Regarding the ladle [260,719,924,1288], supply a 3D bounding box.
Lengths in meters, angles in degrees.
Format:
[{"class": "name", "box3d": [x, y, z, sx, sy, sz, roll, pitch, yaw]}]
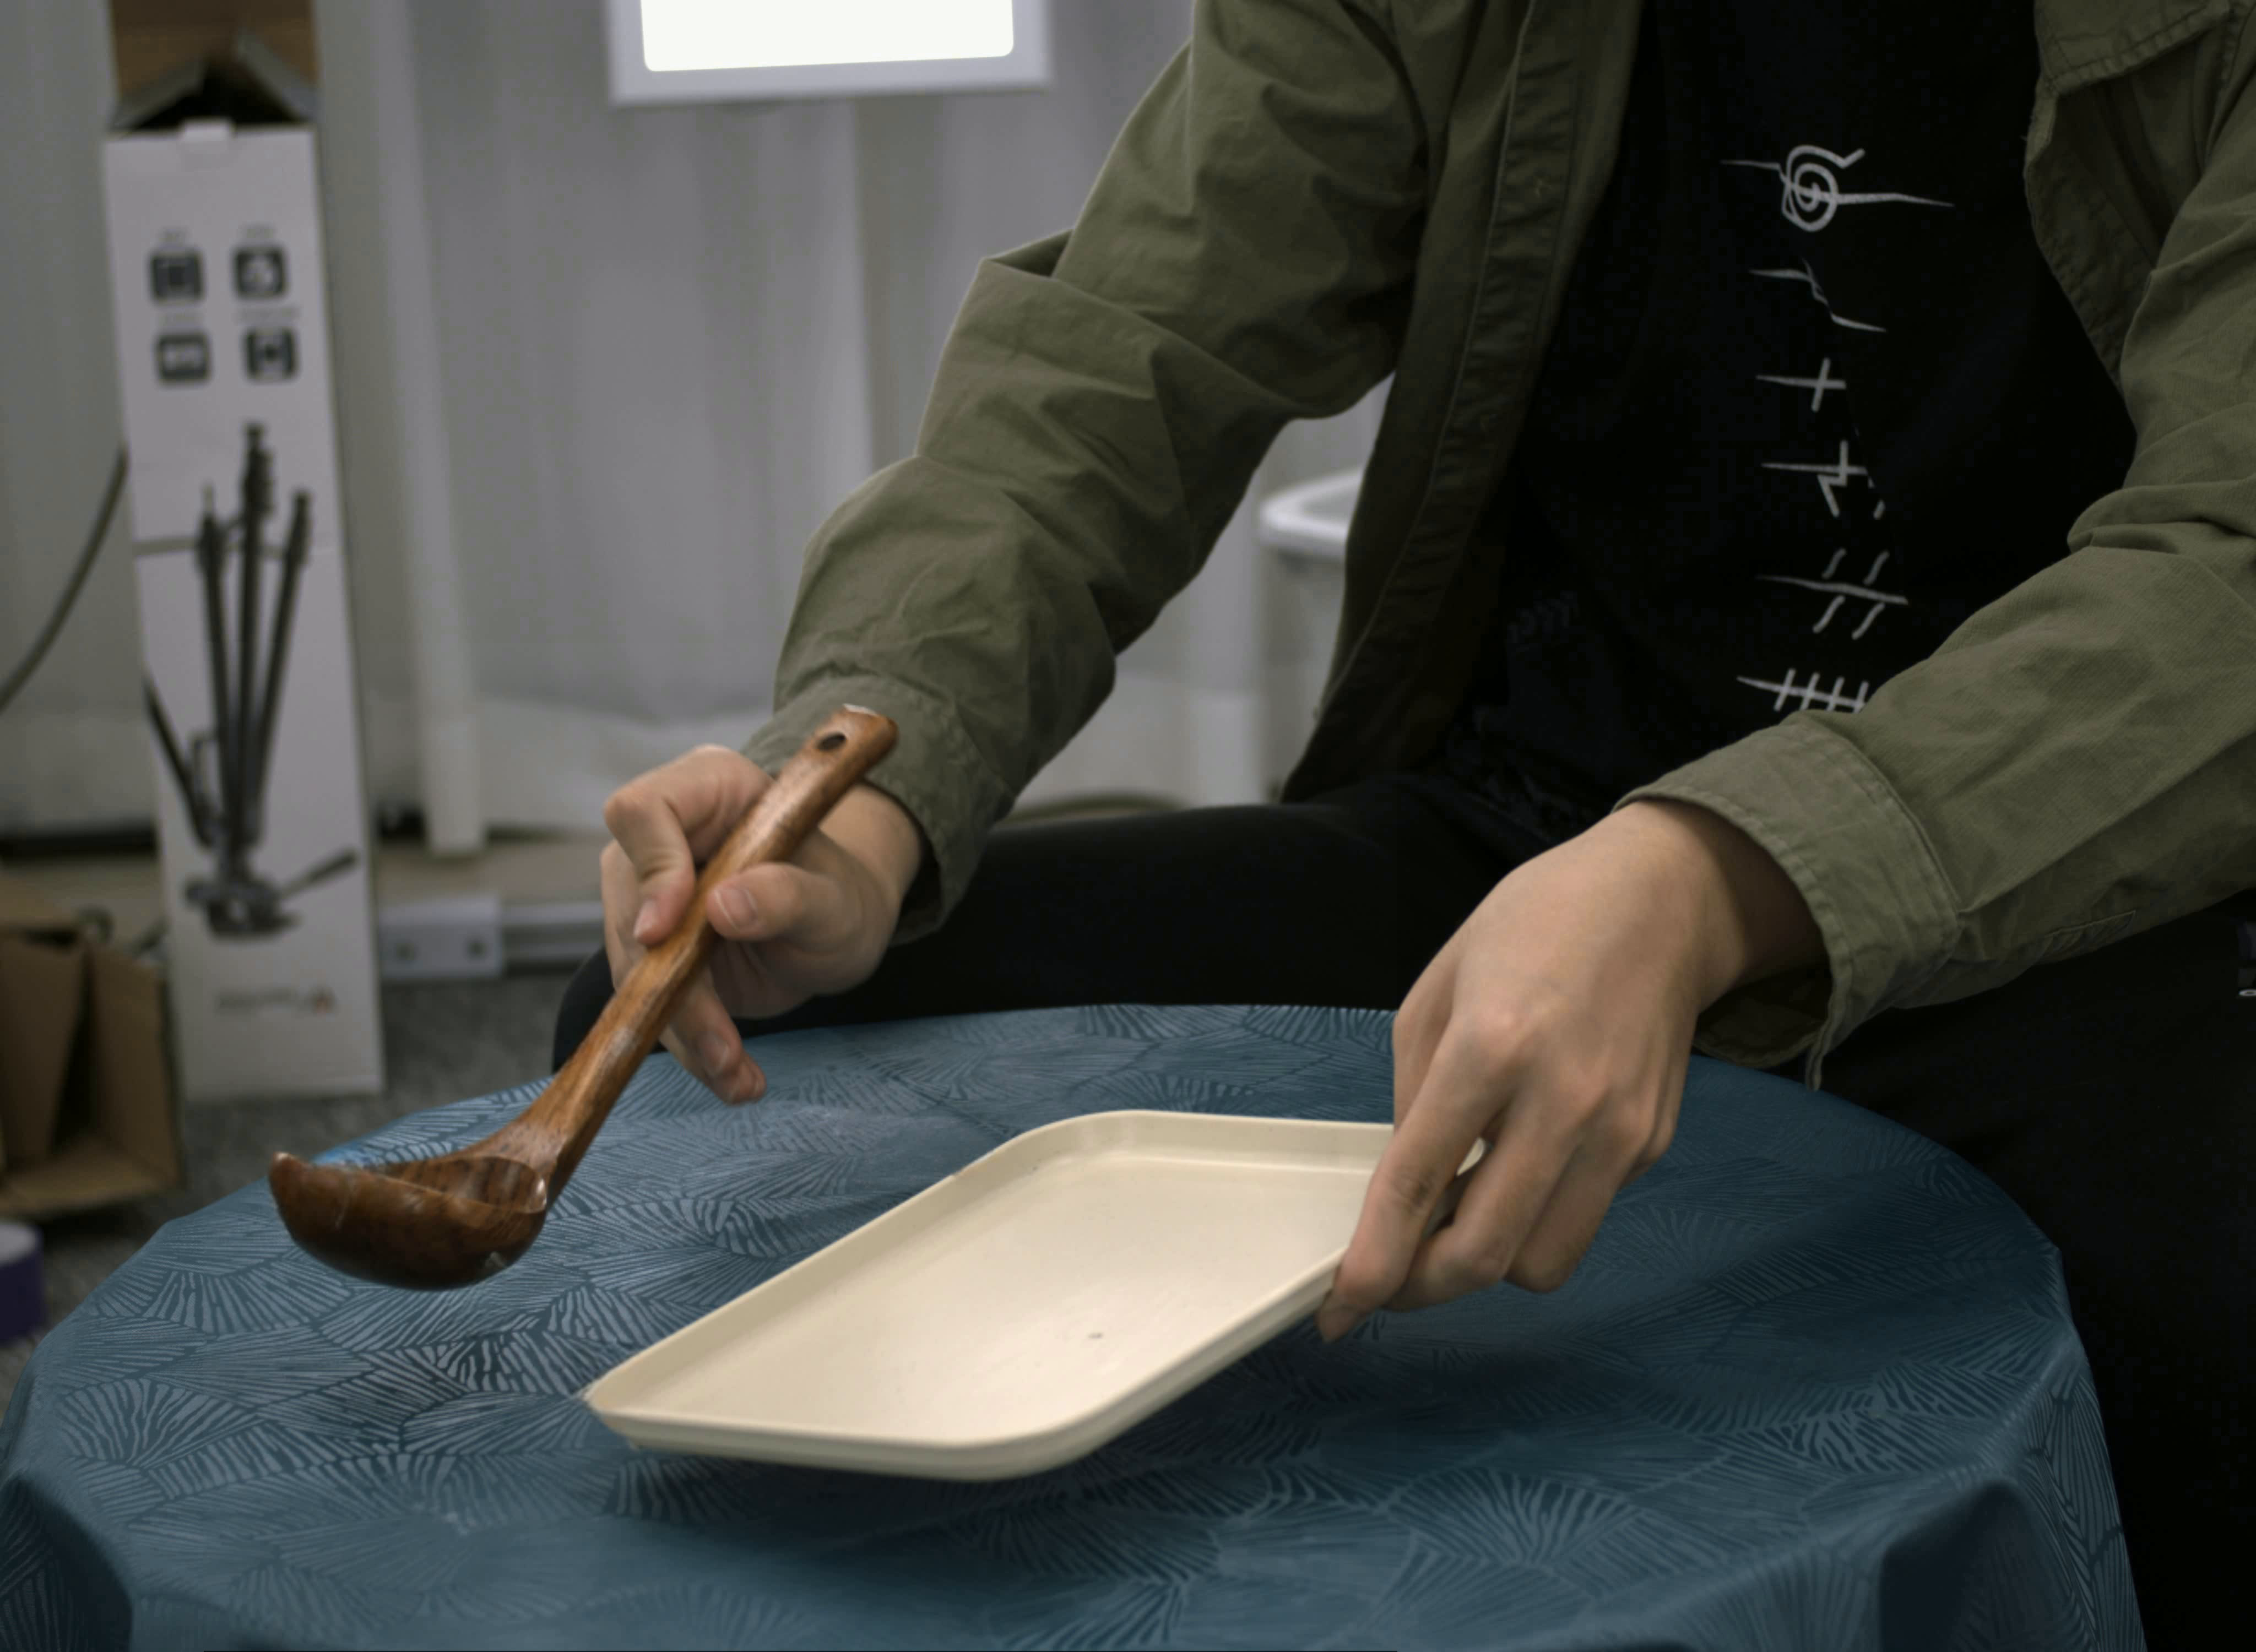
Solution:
[{"class": "ladle", "box3d": [-0.154, 0.037, 1.627, 0.082, 0.075, 0.276, 15, 51, 32]}]

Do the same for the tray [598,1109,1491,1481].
[{"class": "tray", "box3d": [-0.019, 0.129, 1.523, 0.171, 0.017, 0.240, 1, 18, 38]}]
